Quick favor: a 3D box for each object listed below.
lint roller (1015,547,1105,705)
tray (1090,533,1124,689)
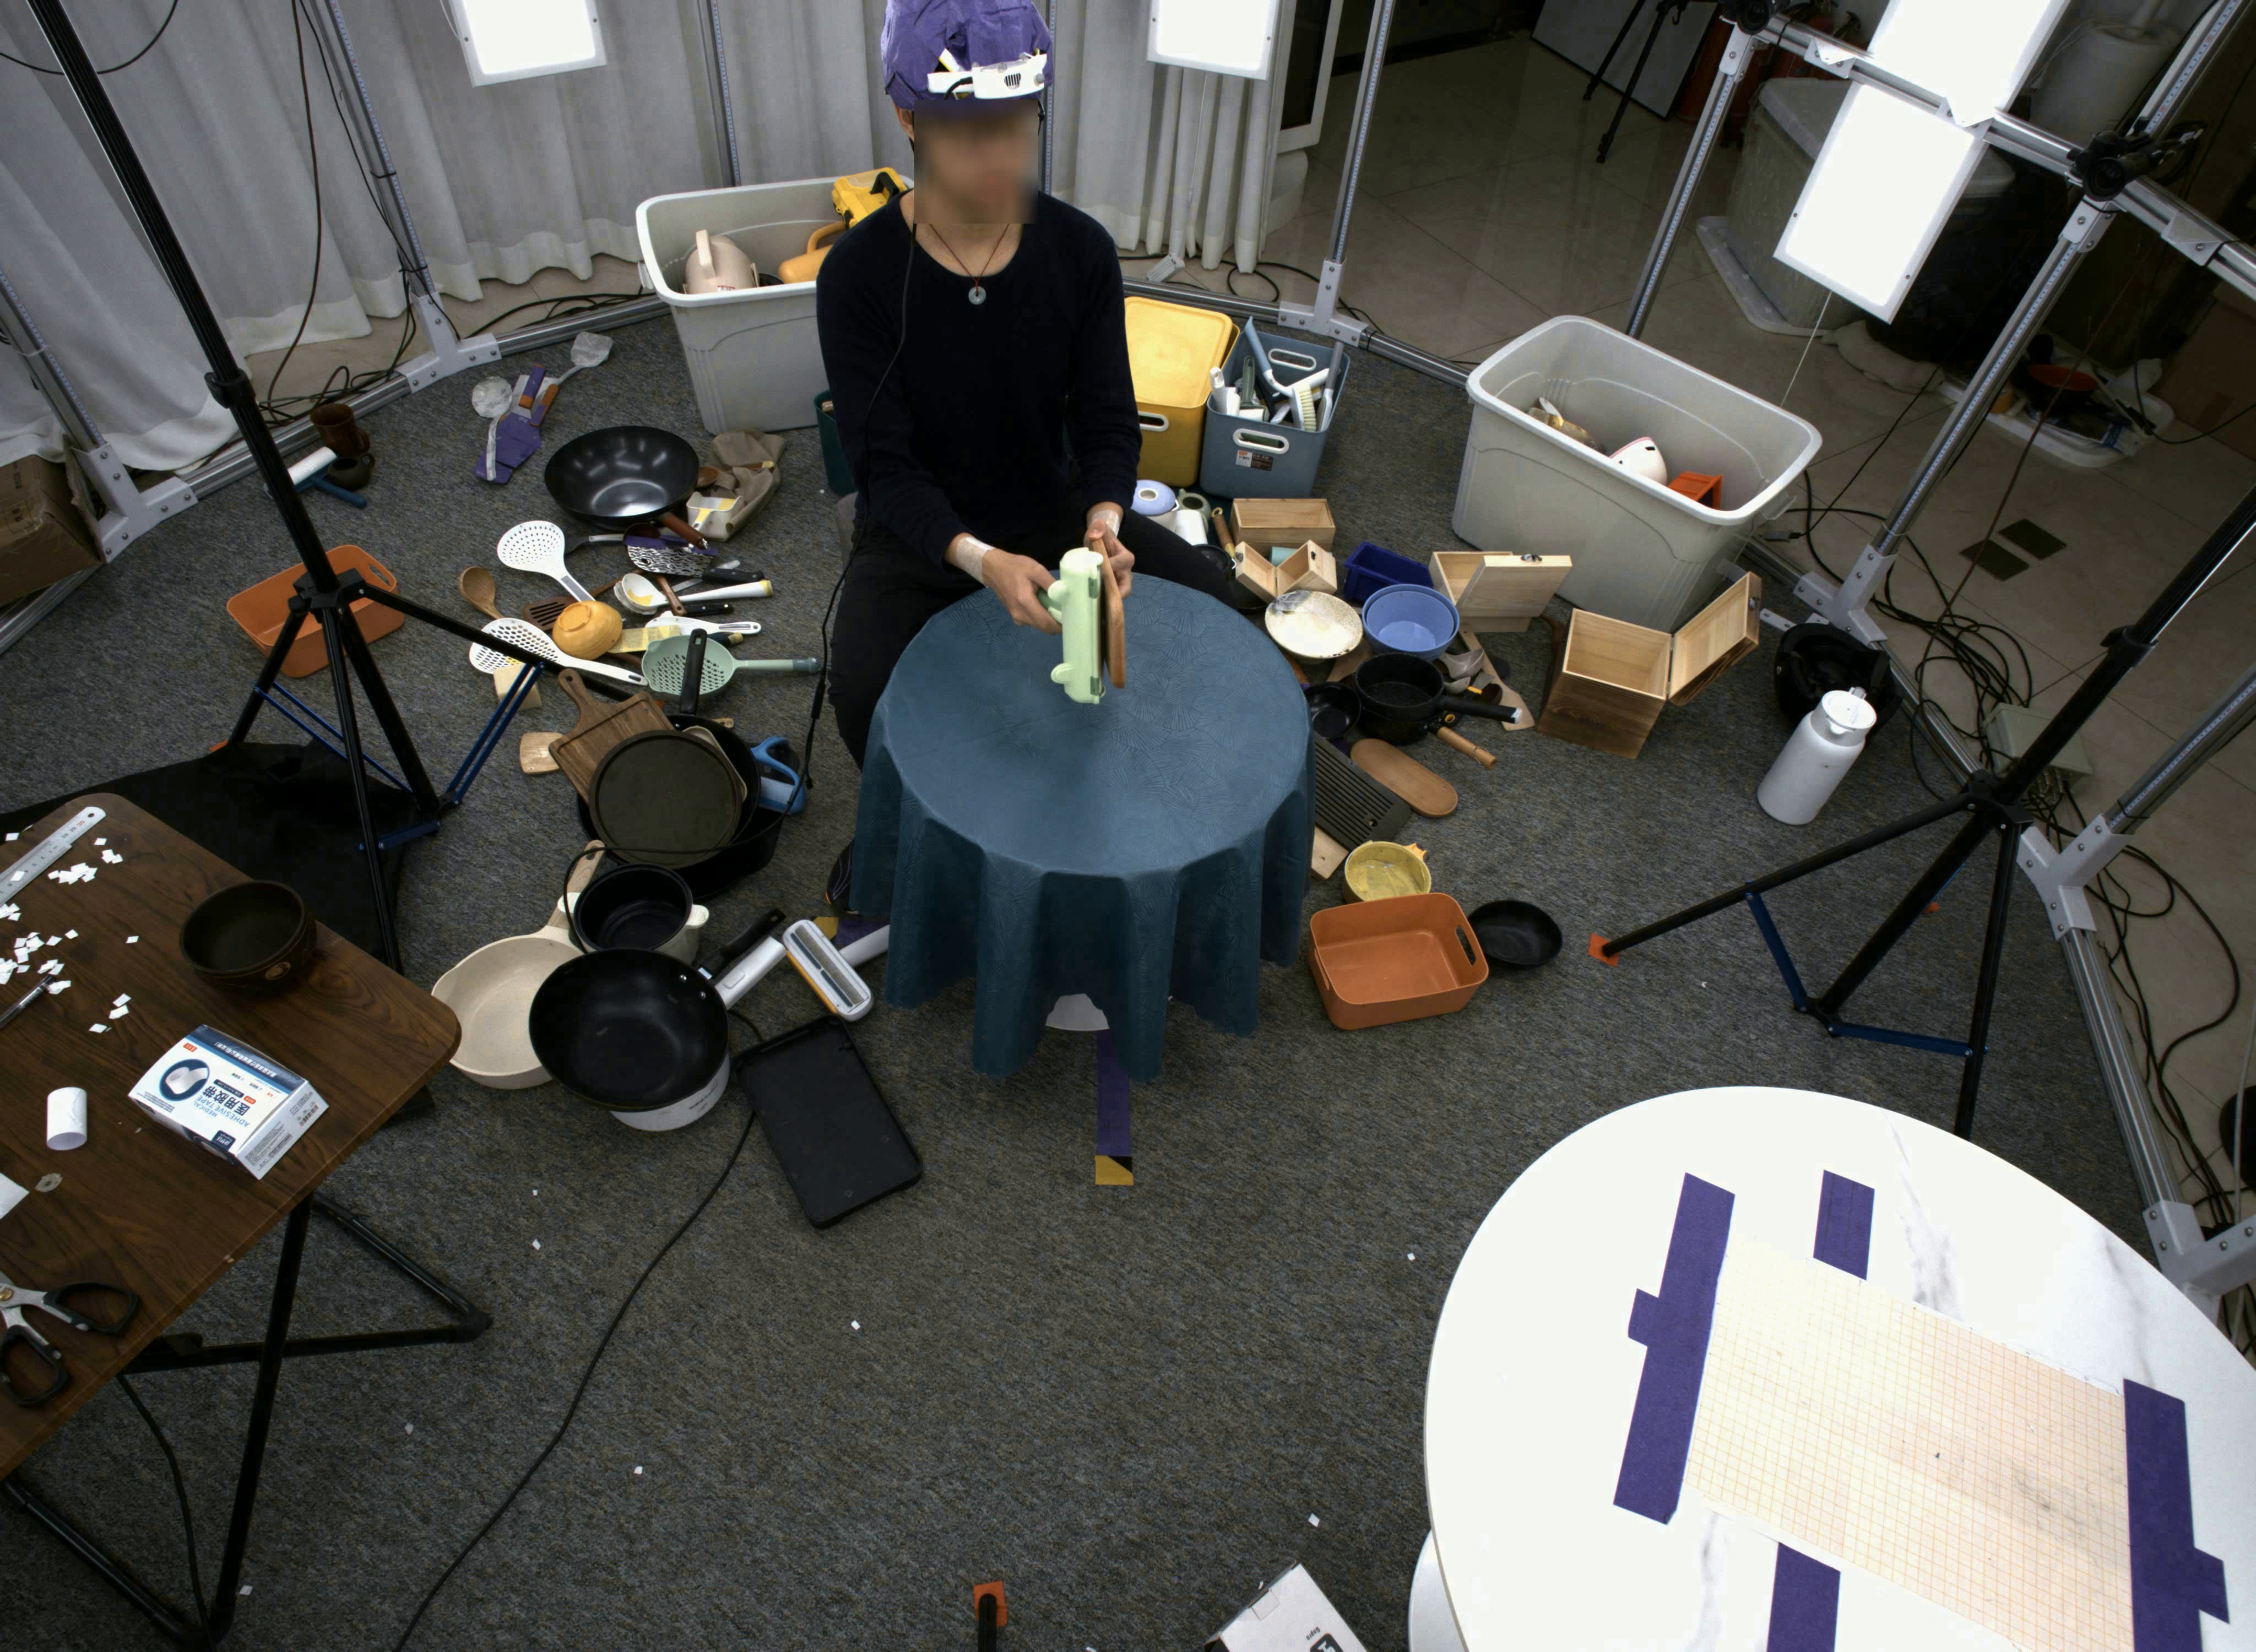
[{"bbox_3d":[-0.104,-0.270,1.658,0.186,0.194,0.083,27,42,37],"label":"lint roller"},{"bbox_3d":[-0.029,-0.283,1.672,0.023,0.128,0.256,-3,32,-7],"label":"tray"}]
